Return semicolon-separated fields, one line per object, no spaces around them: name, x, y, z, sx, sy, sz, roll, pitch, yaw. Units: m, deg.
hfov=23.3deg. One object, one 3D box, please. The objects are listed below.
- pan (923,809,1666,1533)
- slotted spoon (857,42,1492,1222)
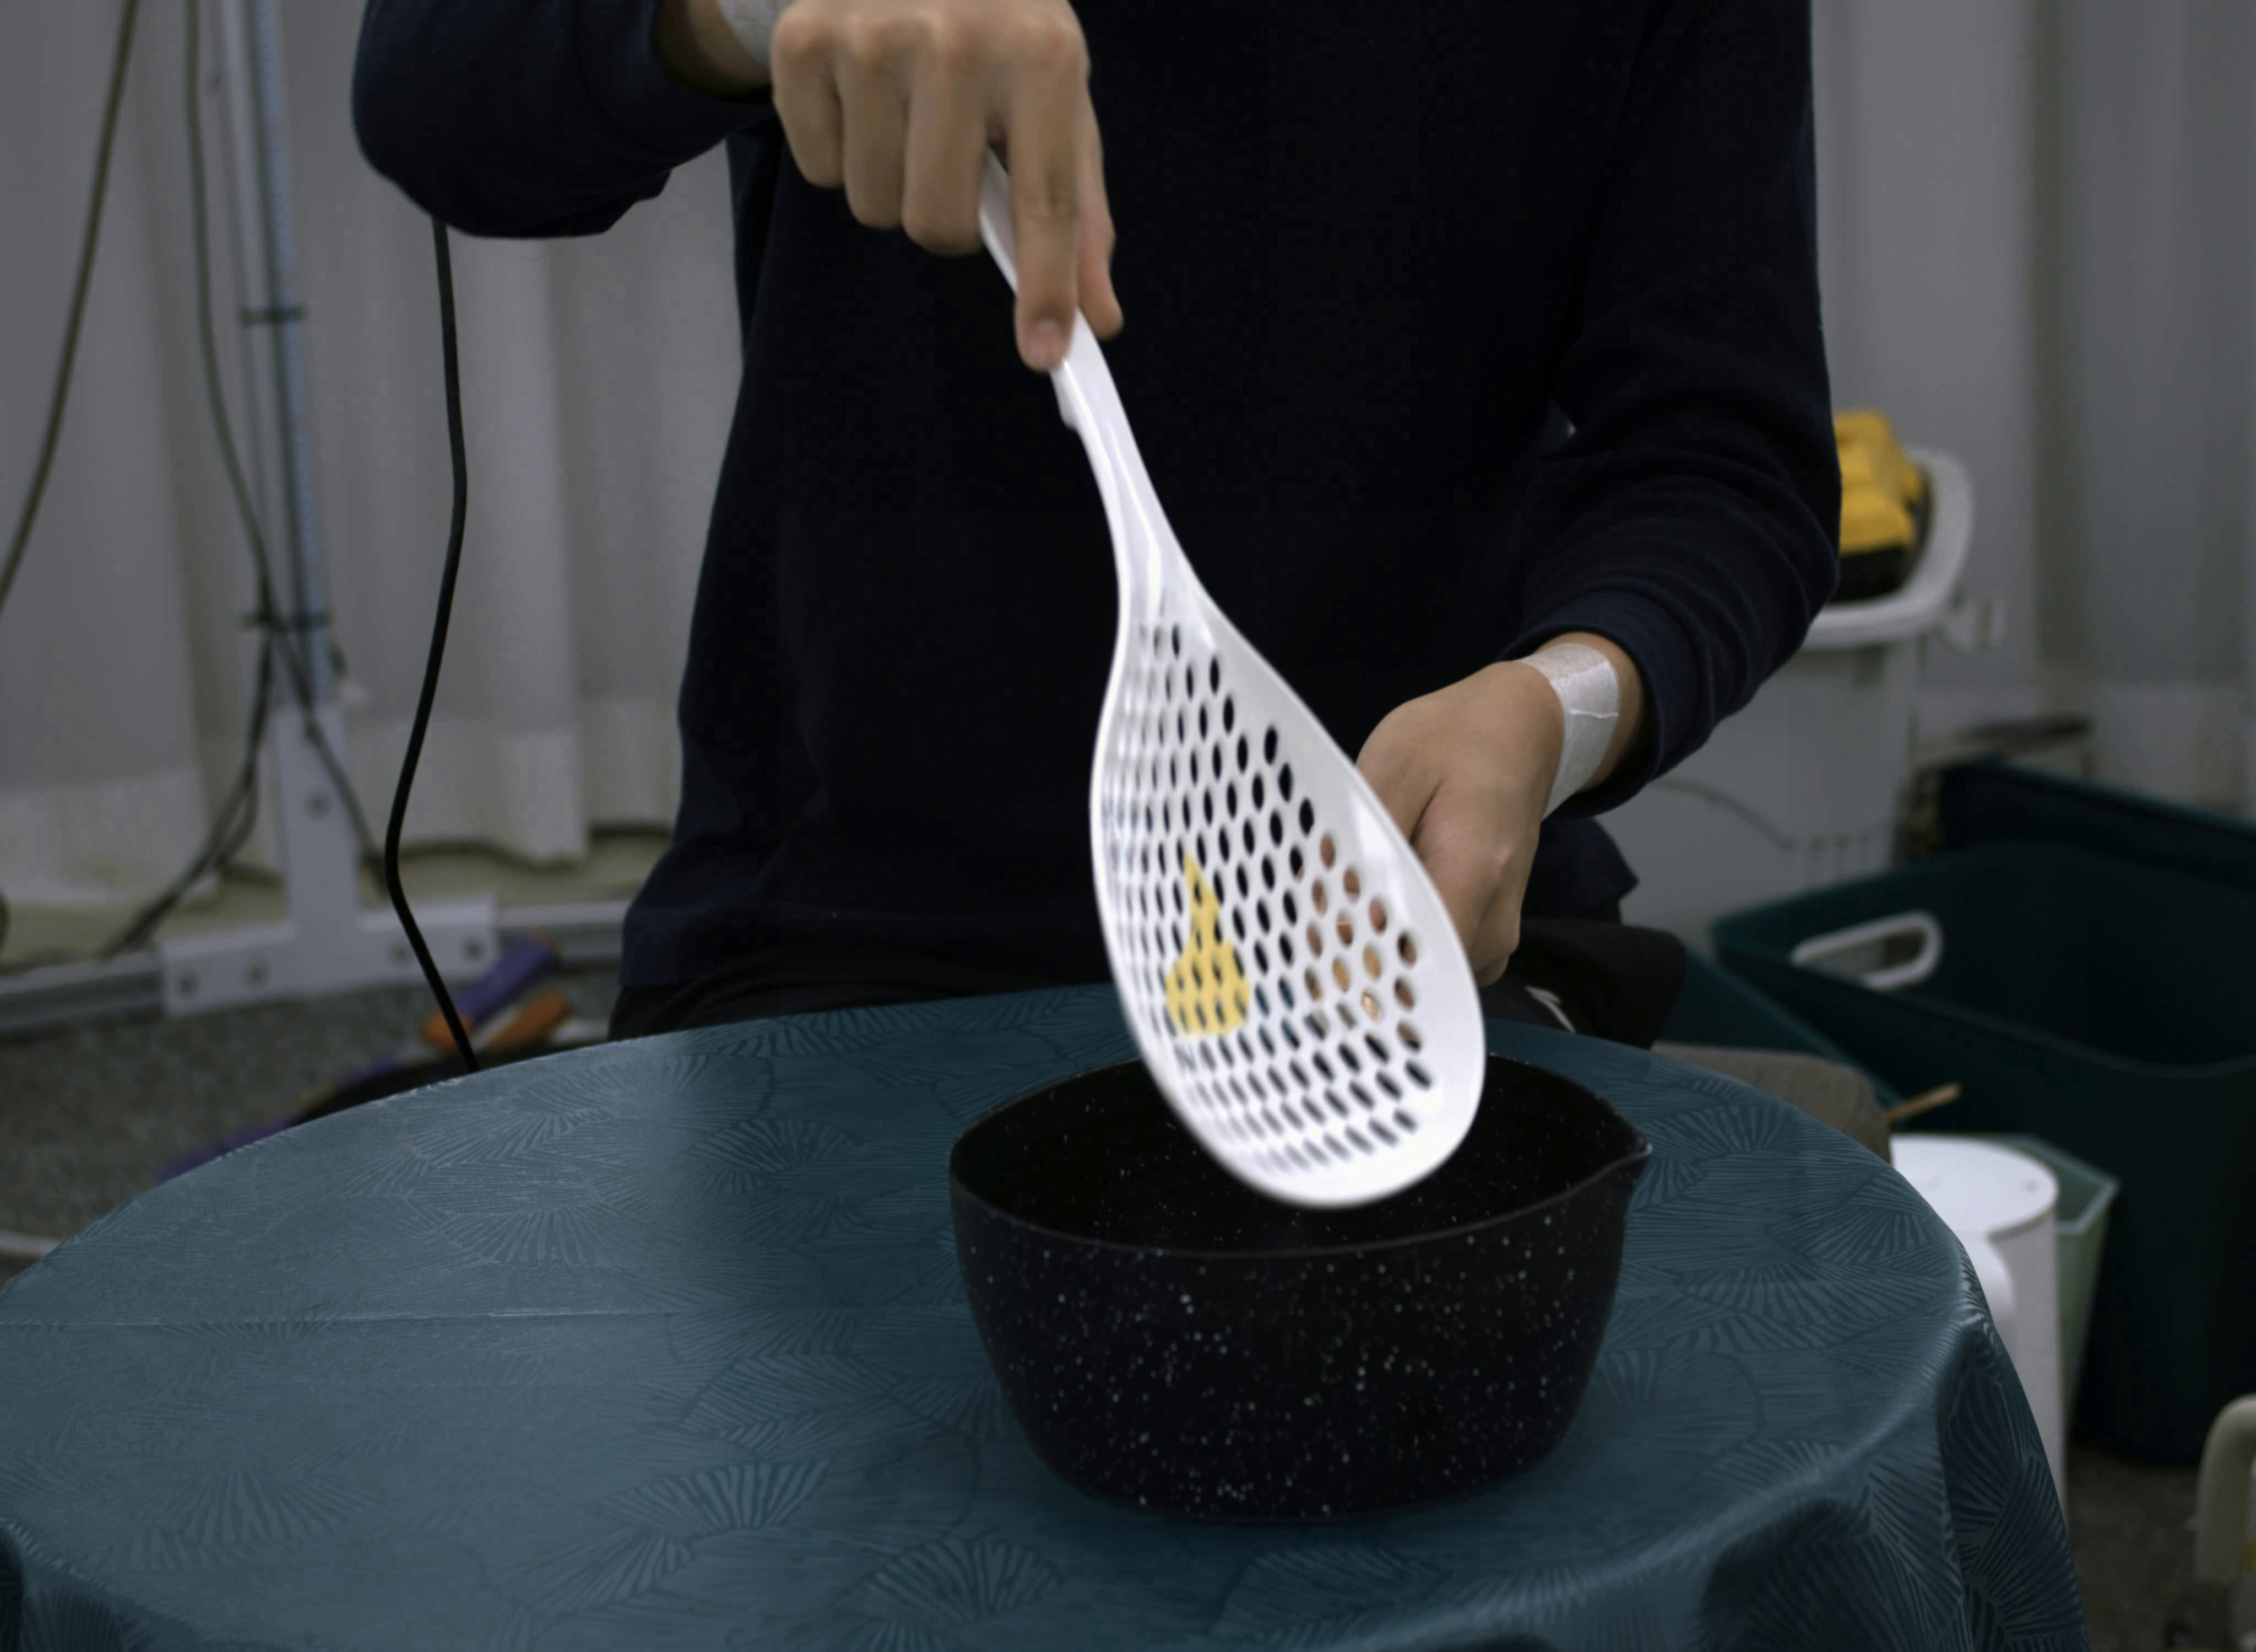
pan;0.055;0.094;1.575;0.207;0.108;0.345;-2;16;8
slotted spoon;0.001;-0.057;1.488;0.050;0.349;0.136;-22;-7;43
